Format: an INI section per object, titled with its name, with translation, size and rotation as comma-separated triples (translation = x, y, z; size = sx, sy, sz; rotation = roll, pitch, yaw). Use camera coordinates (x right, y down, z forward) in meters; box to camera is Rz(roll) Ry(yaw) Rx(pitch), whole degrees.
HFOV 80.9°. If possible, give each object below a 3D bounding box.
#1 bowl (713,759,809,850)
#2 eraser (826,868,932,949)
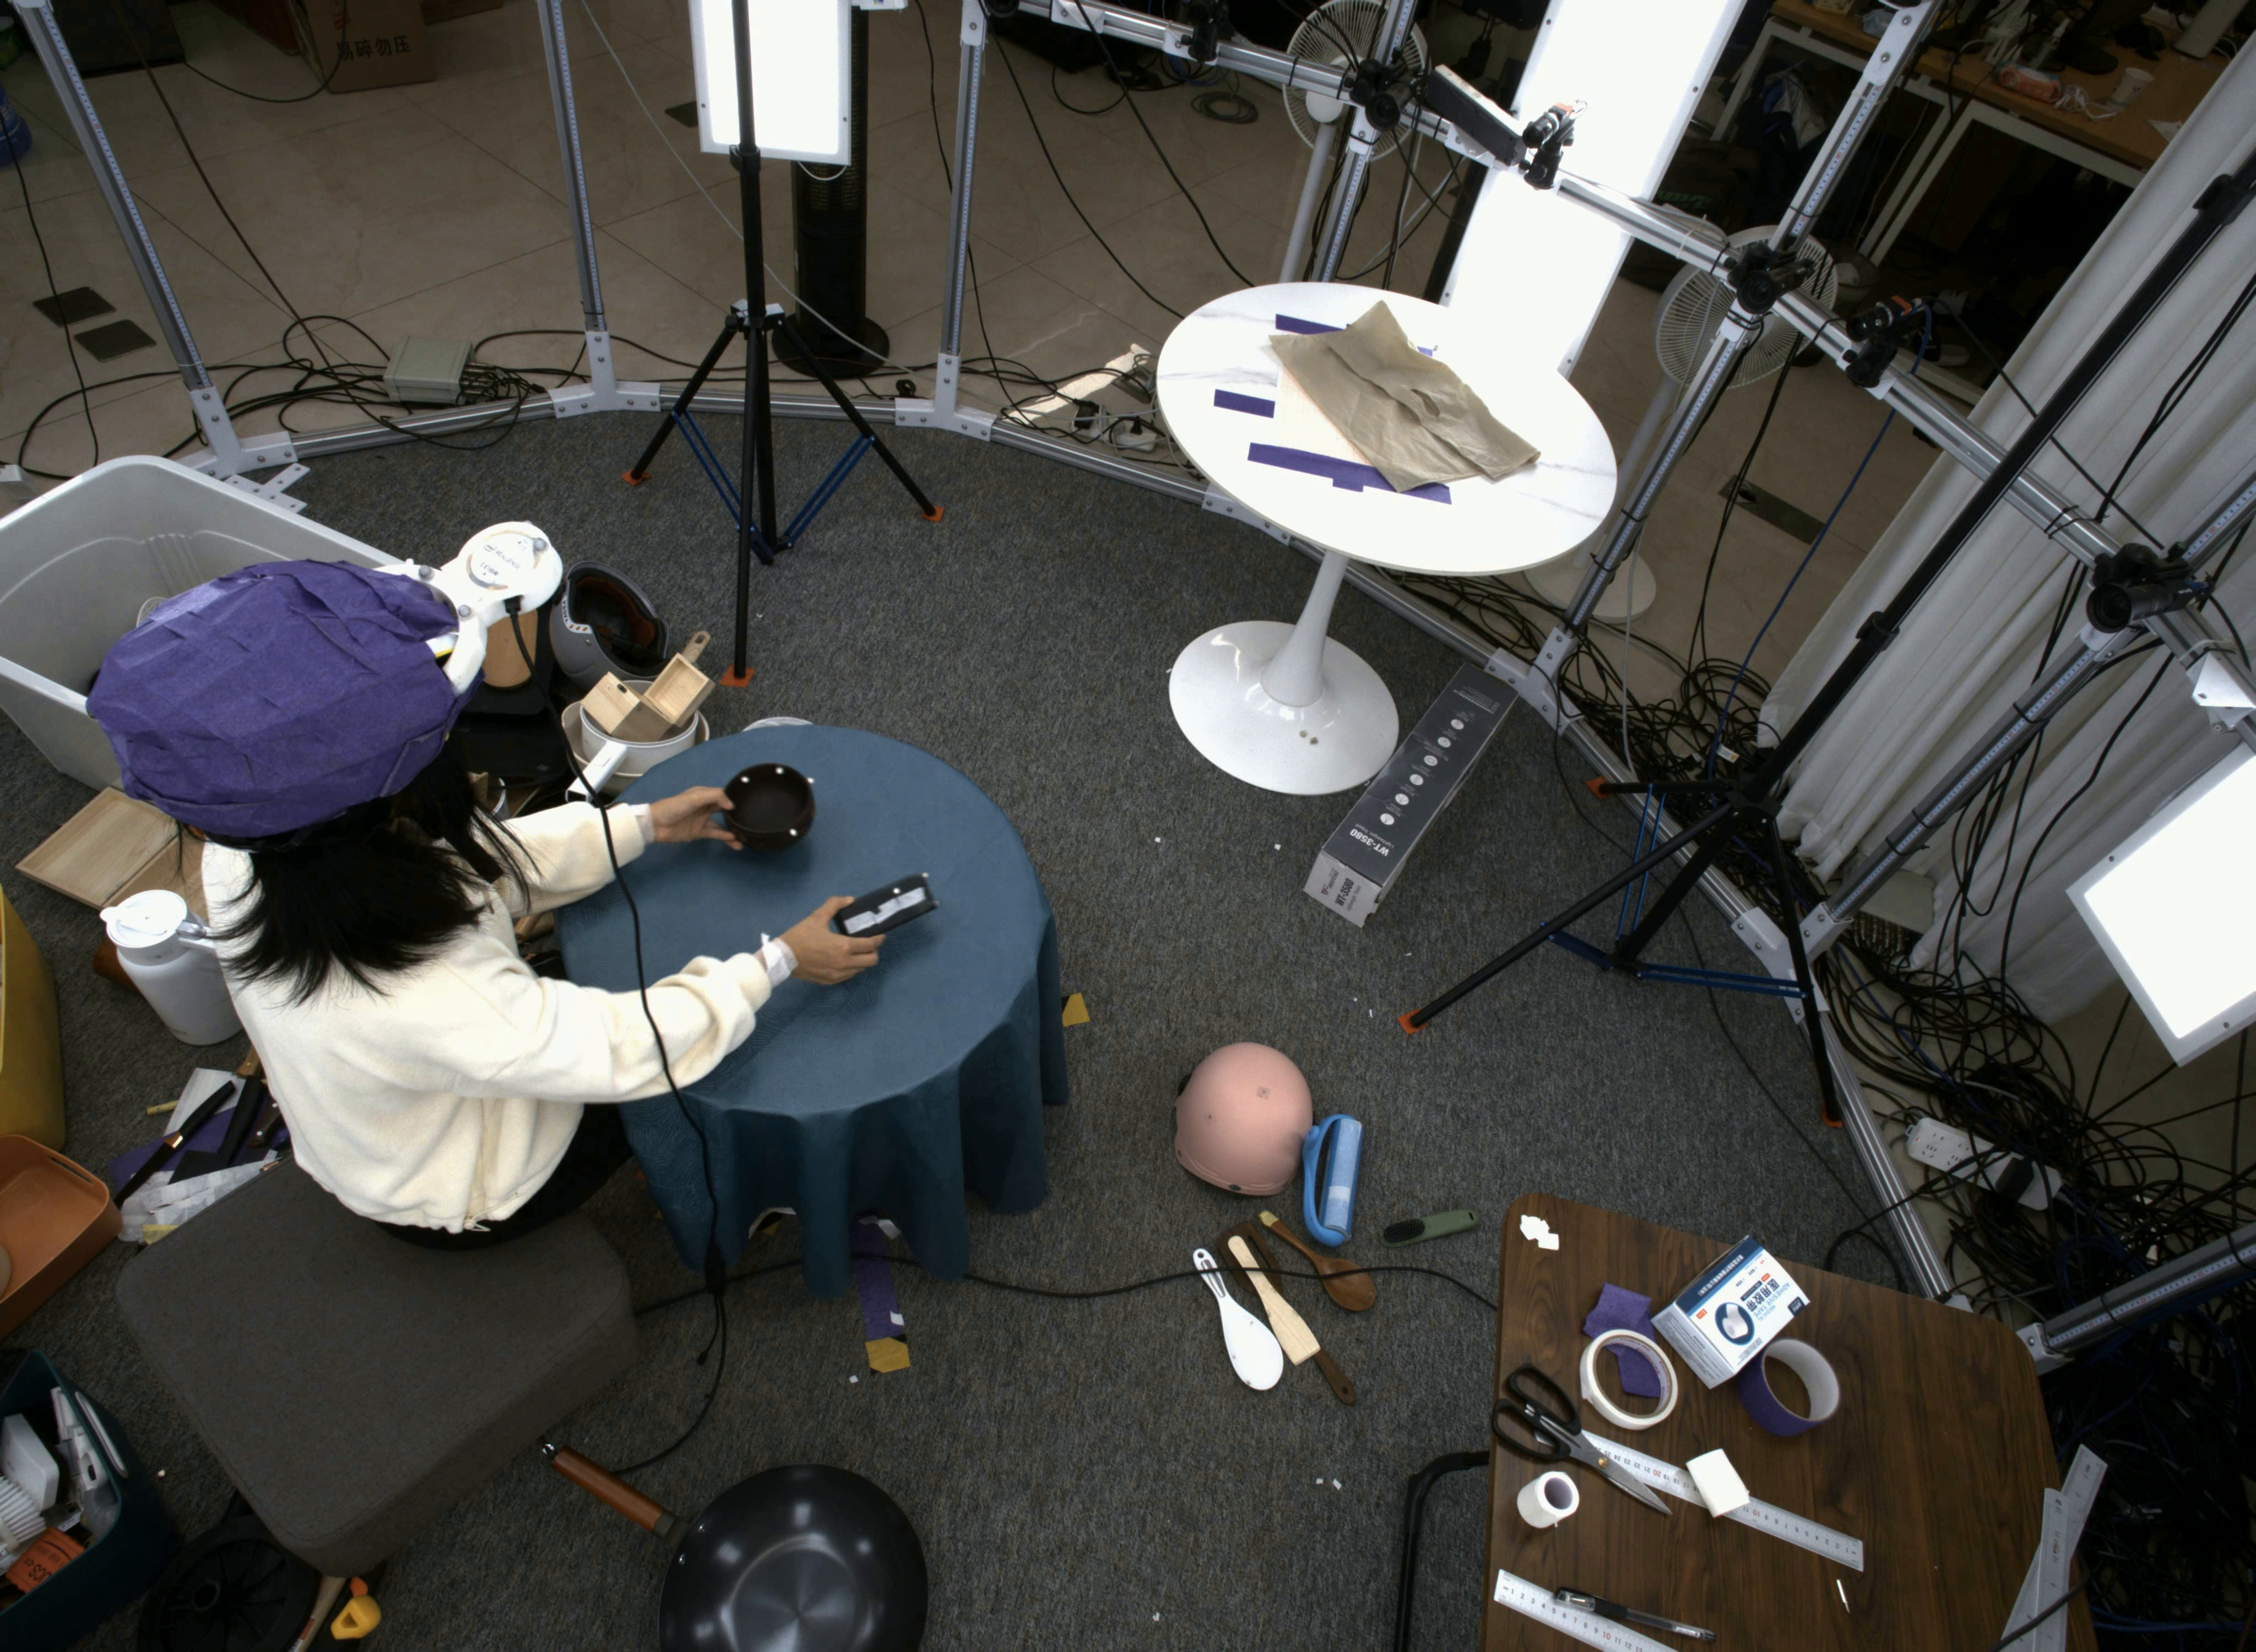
[bowl]
translation = -0.465, -0.020, 1.651
size = 0.117, 0.072, 0.116
rotation = 3, 52, -3
[eraser]
translation = -0.307, 0.100, 1.604
size = 0.126, 0.030, 0.054
rotation = -27, 98, -33
